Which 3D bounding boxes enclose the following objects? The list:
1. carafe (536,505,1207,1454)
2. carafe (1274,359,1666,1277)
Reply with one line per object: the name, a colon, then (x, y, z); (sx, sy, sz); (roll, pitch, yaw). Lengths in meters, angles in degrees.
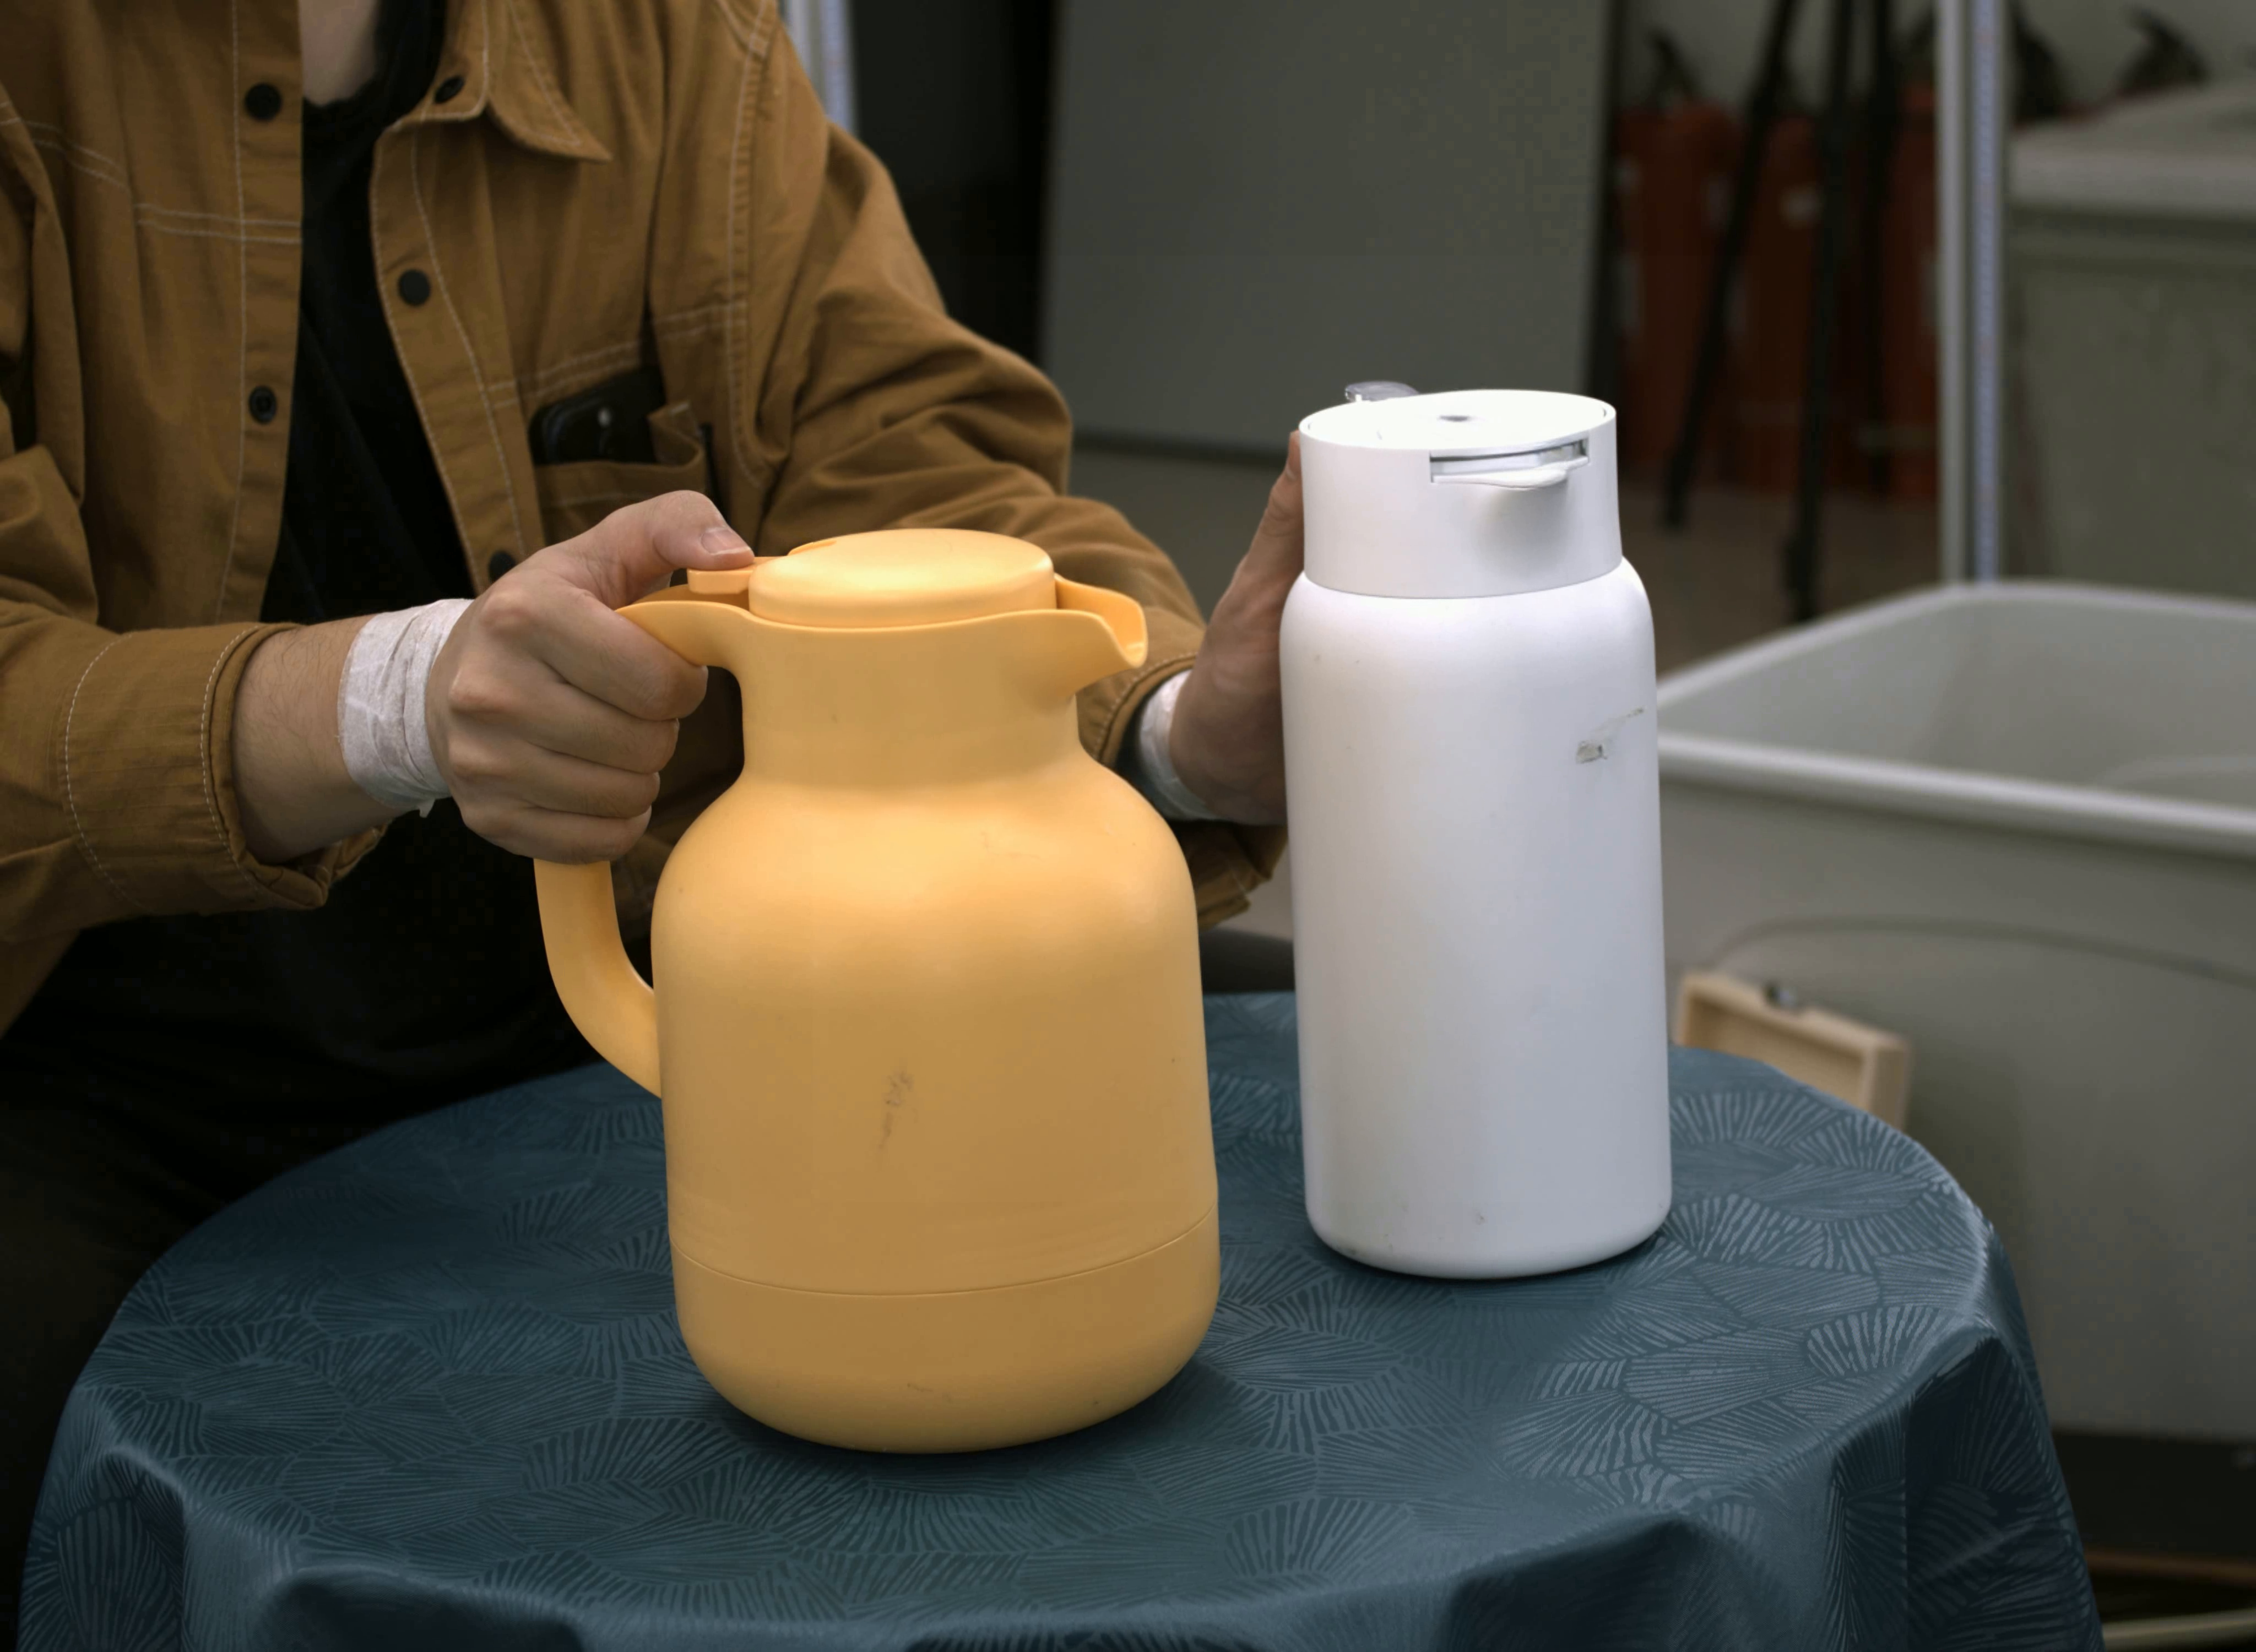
carafe: (-0.077, 0.039, 1.578); (0.203, 0.263, 0.161); (4, 12, 25)
carafe: (0.099, -0.006, 1.695); (0.121, 0.272, 0.174); (-10, 14, -18)
